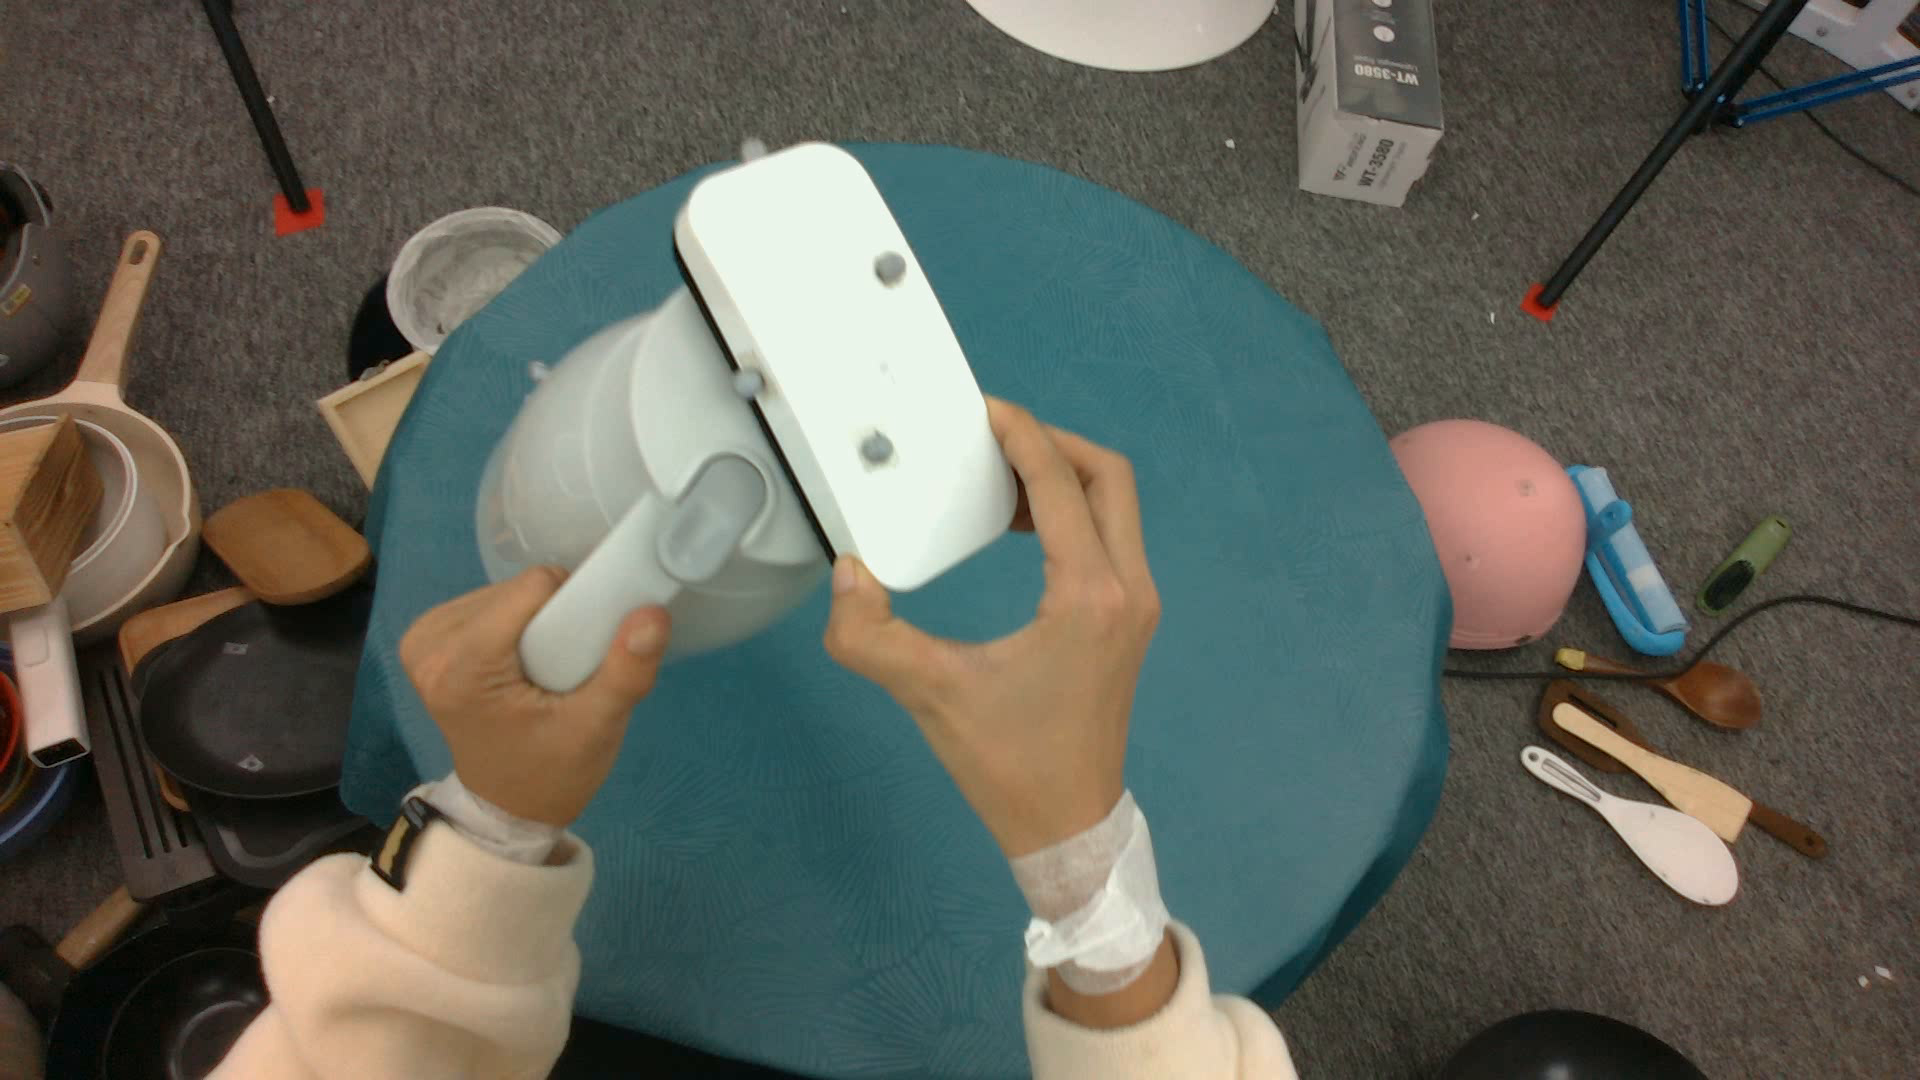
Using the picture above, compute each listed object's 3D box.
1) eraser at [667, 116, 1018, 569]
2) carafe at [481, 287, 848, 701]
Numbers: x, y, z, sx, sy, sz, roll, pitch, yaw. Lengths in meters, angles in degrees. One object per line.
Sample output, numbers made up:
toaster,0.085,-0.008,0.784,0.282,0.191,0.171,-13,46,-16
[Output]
eraser,-0.035,-0.056,0.404,0.063,0.034,0.131,-31,98,-30
carafe,-0.109,-0.009,0.515,0.132,0.248,0.168,43,68,-14
